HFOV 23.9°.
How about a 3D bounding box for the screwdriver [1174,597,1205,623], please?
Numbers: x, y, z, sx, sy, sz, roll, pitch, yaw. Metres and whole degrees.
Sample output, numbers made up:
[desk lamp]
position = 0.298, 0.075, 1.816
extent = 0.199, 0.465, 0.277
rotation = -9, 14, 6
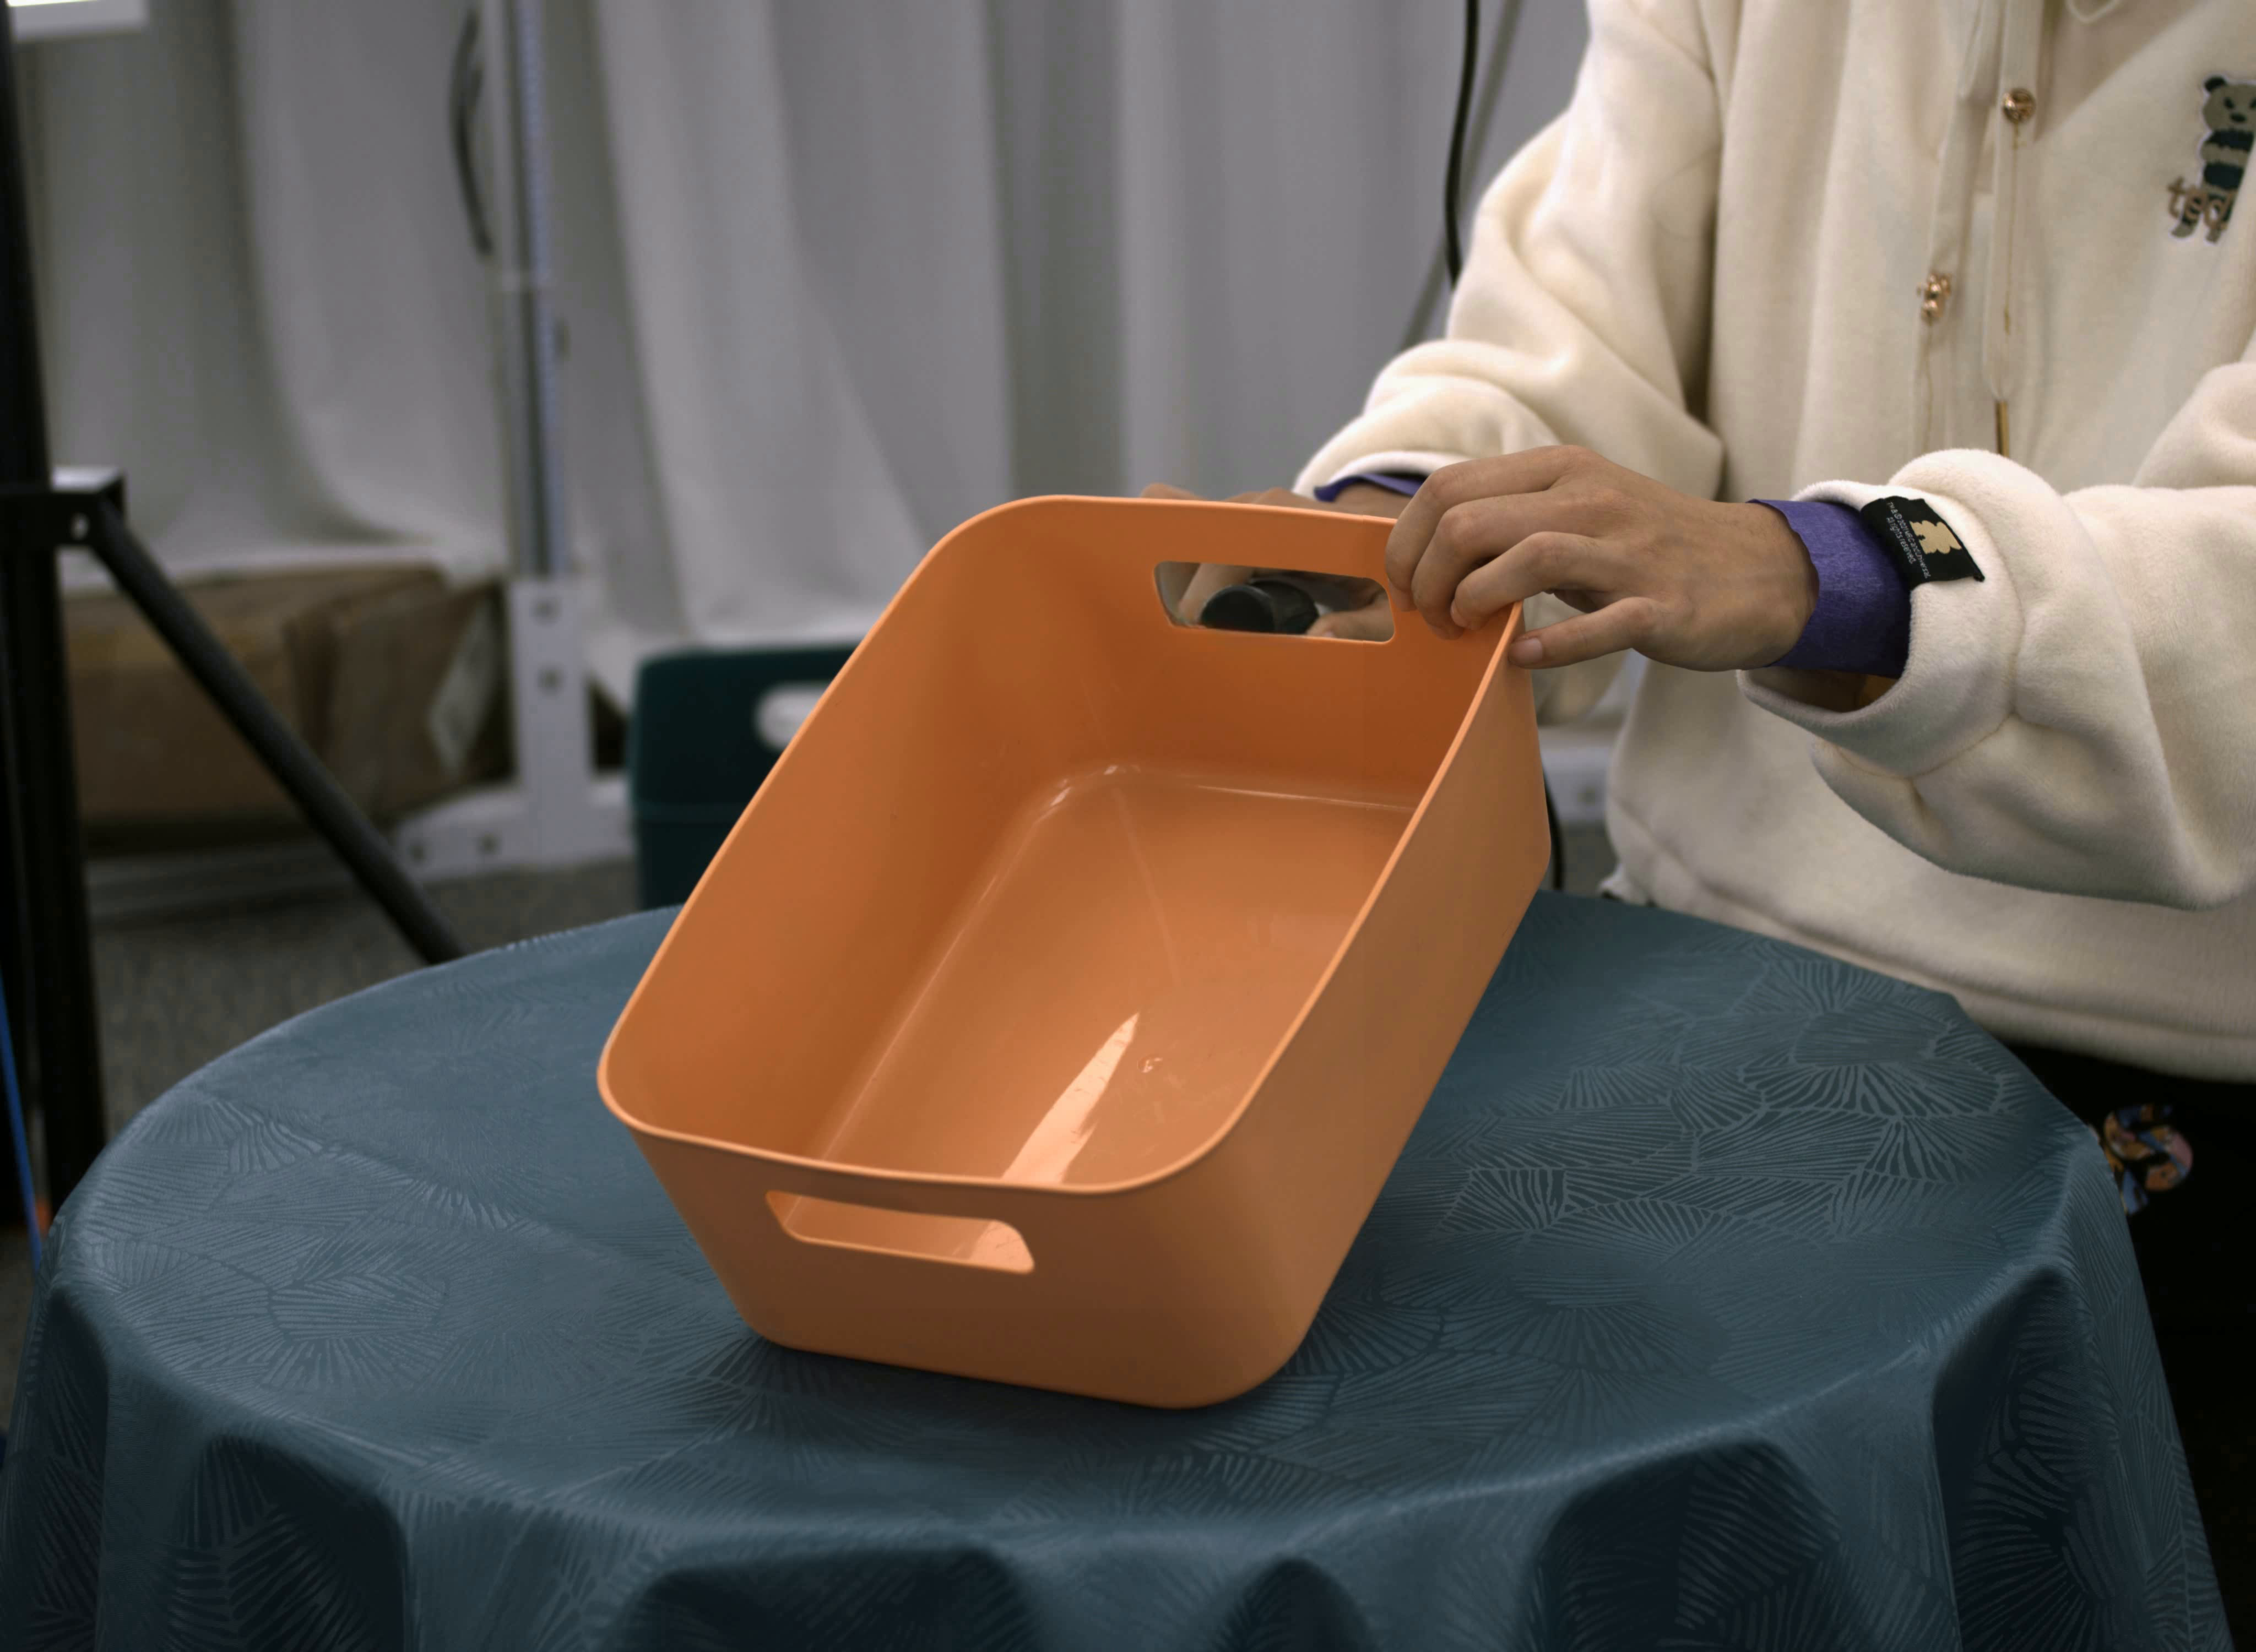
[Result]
[screwdriver]
position = 0.028, -0.060, 1.635
extent = 0.031, 0.031, 0.194
rotation = 2, 0, 13

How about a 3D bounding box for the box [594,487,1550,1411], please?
[box]
position = -0.003, 0.033, 1.465
extent = 0.203, 0.101, 0.272
rotation = 5, 45, 28
